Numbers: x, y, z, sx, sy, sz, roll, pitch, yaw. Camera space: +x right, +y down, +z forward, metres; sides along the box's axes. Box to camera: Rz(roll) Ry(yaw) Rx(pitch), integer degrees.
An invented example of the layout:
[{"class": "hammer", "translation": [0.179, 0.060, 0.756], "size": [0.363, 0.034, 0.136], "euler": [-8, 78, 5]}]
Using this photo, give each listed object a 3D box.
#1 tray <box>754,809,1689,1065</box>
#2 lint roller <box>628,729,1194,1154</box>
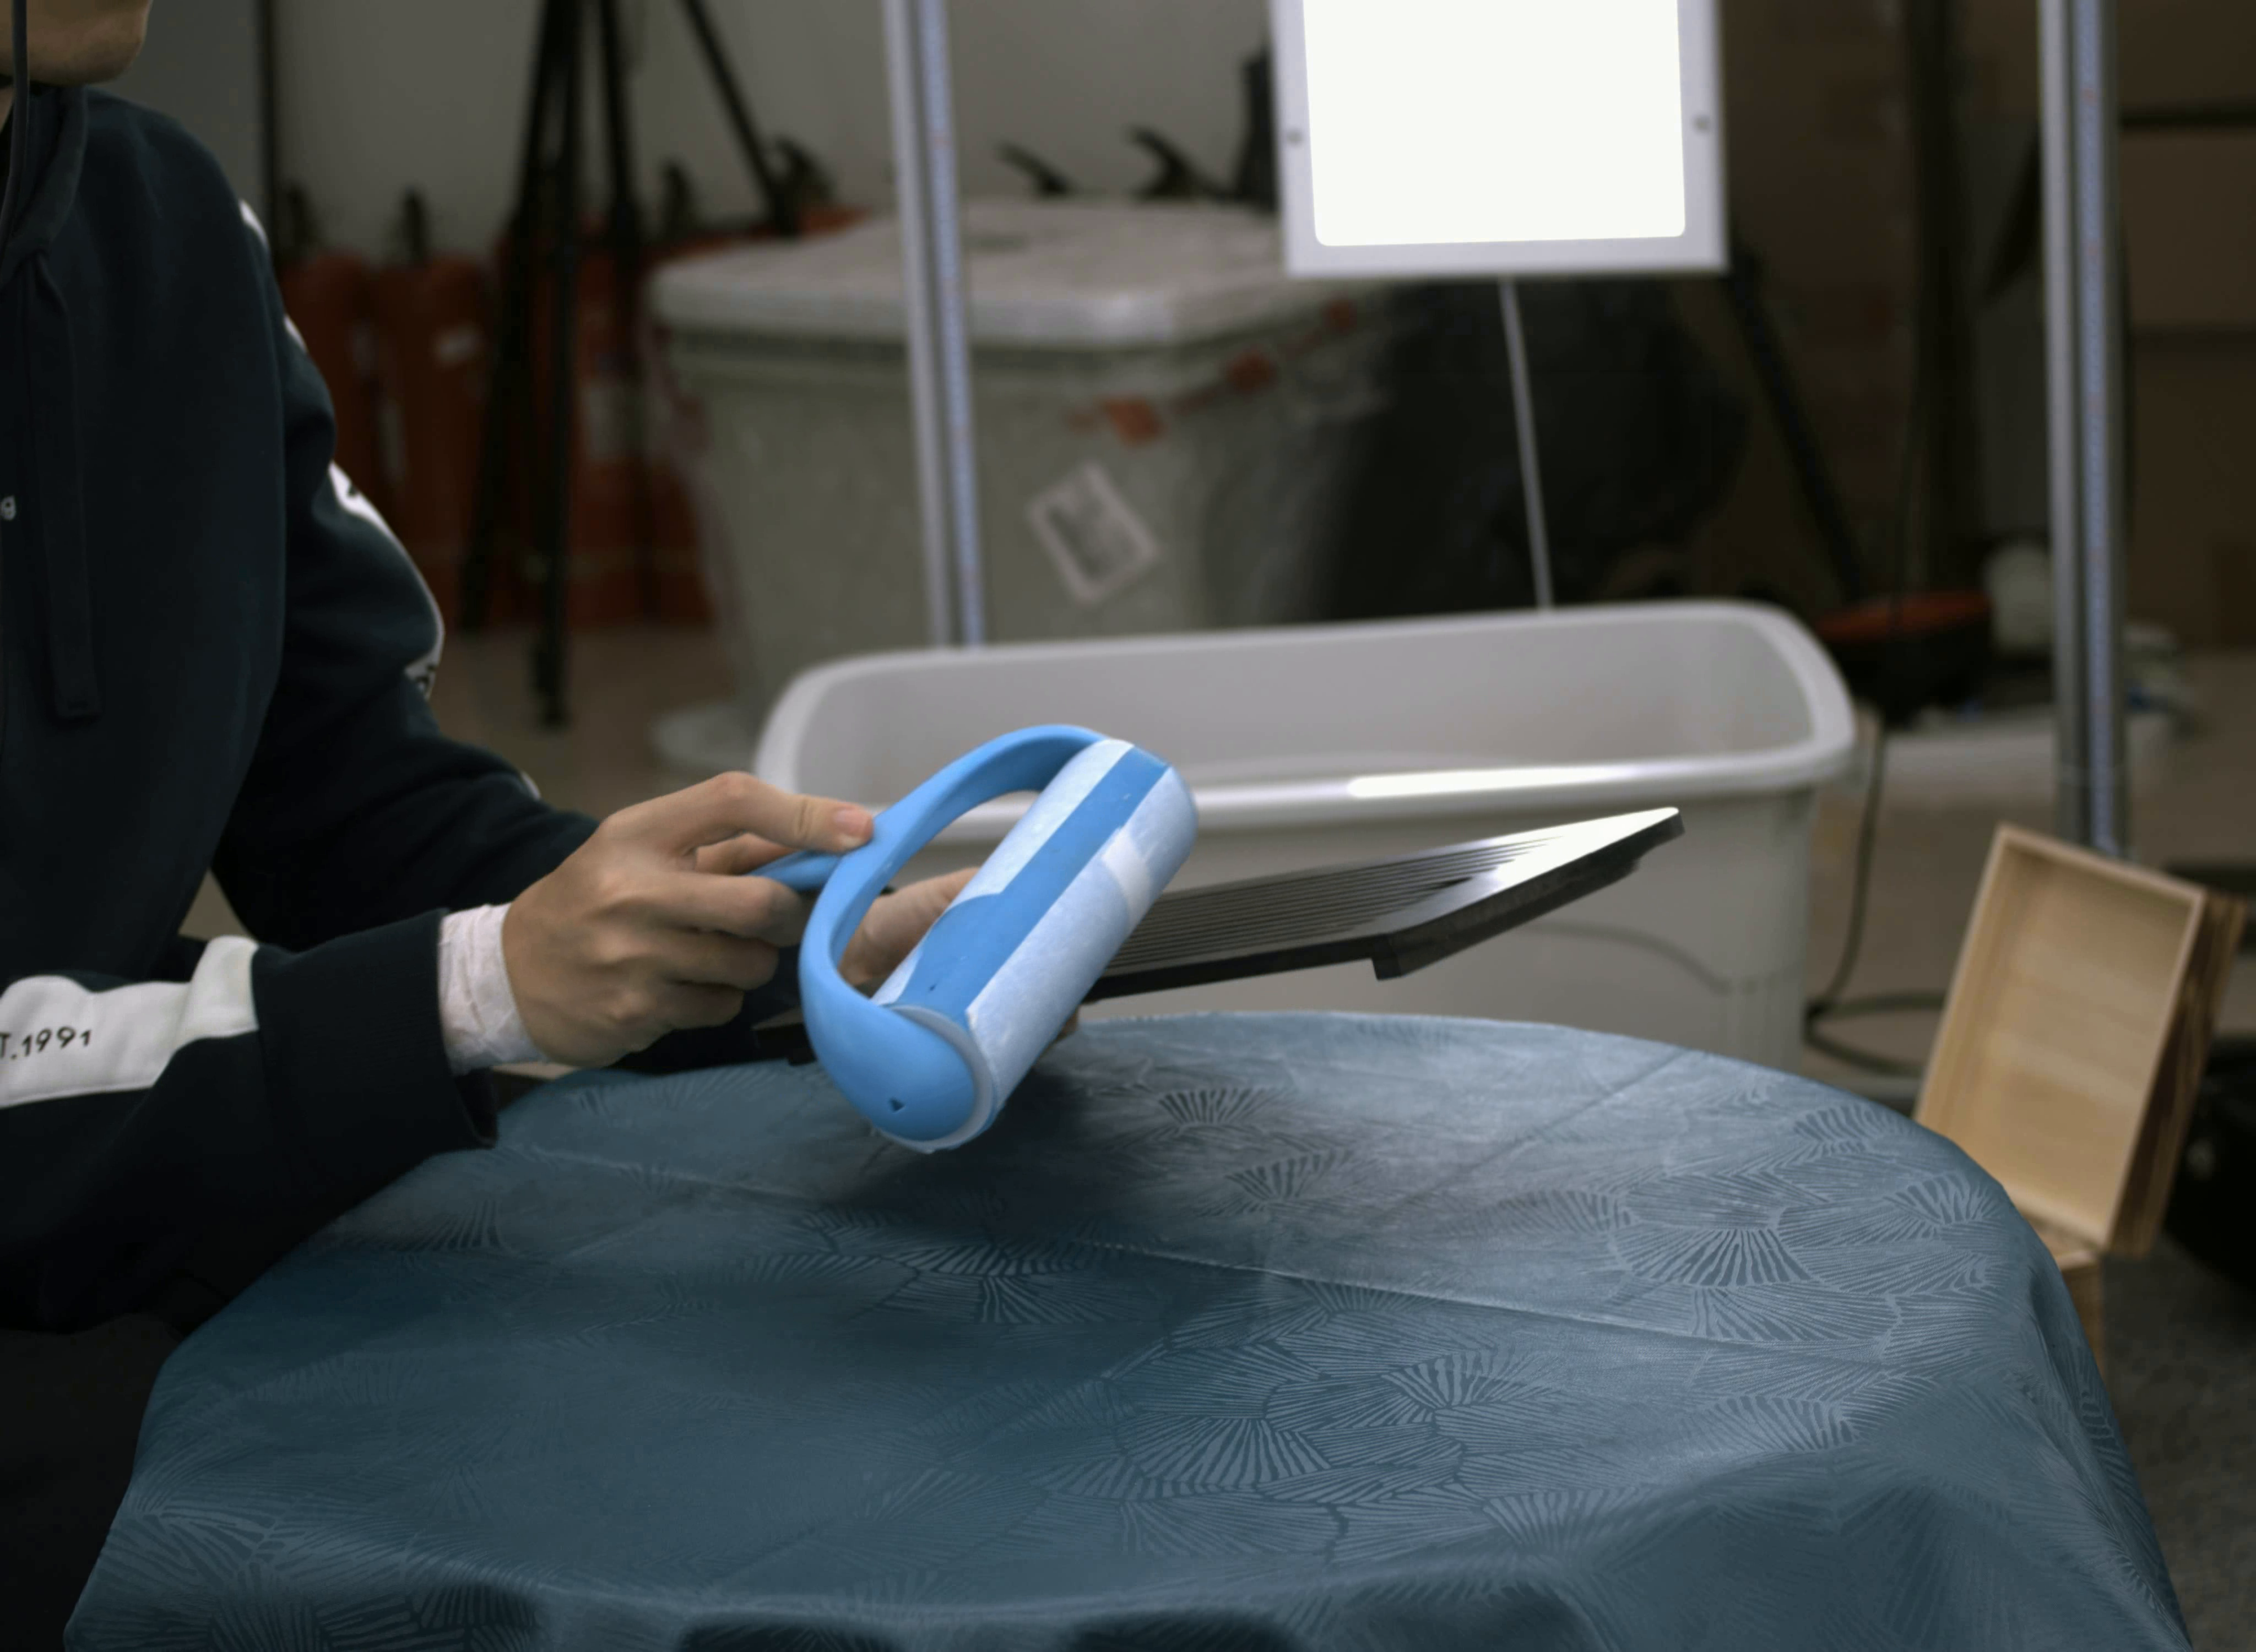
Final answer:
[{"class": "tray", "translation": [0.030, 0.040, 1.889], "size": [0.313, 0.018, 0.166], "euler": [-10, 7, 42]}, {"class": "lint roller", "translation": [-0.089, 0.038, 1.819], "size": [0.183, 0.068, 0.225], "euler": [-2, 27, 21]}]
